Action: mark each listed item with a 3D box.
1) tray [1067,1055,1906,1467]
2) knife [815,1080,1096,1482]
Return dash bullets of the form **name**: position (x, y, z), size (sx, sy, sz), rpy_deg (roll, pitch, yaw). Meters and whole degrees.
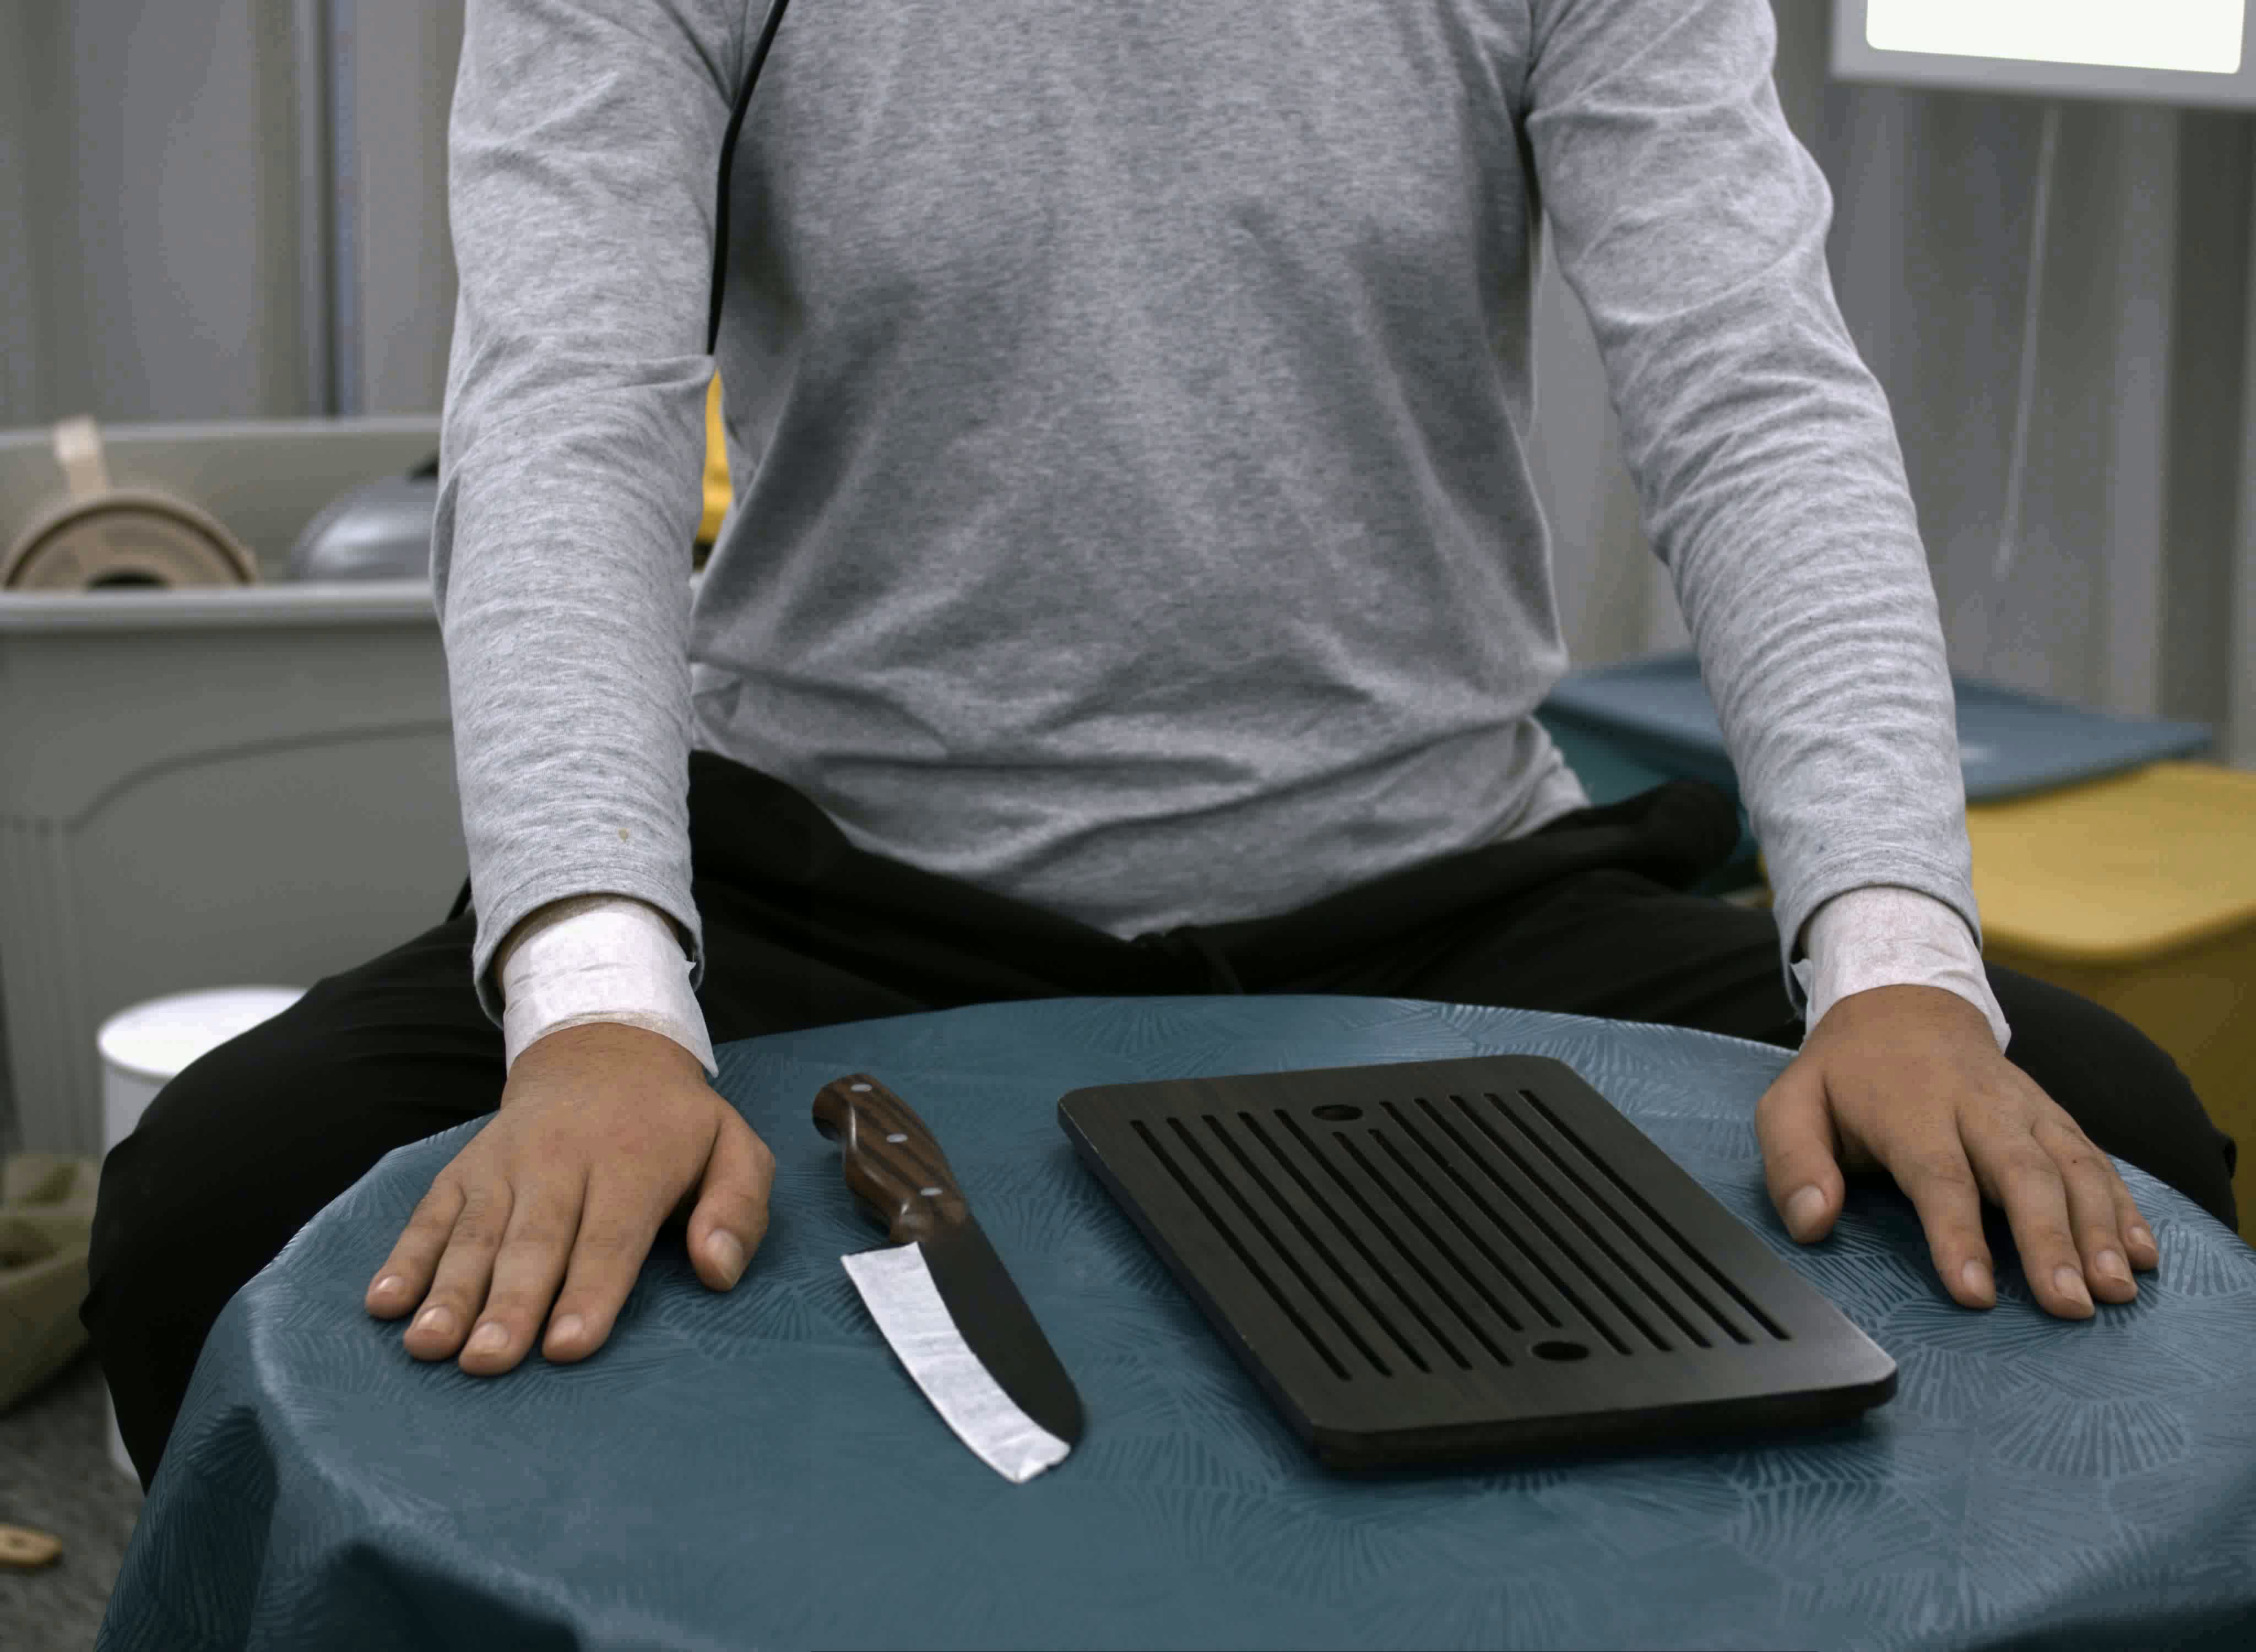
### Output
- **tray**: position (0.097, 0.124, 1.553), size (0.170, 0.019, 0.303), rpy_deg (-4, 15, -14)
- **knife**: position (-0.055, 0.131, 1.529), size (0.050, 0.020, 0.286), rpy_deg (-8, 19, -11)
